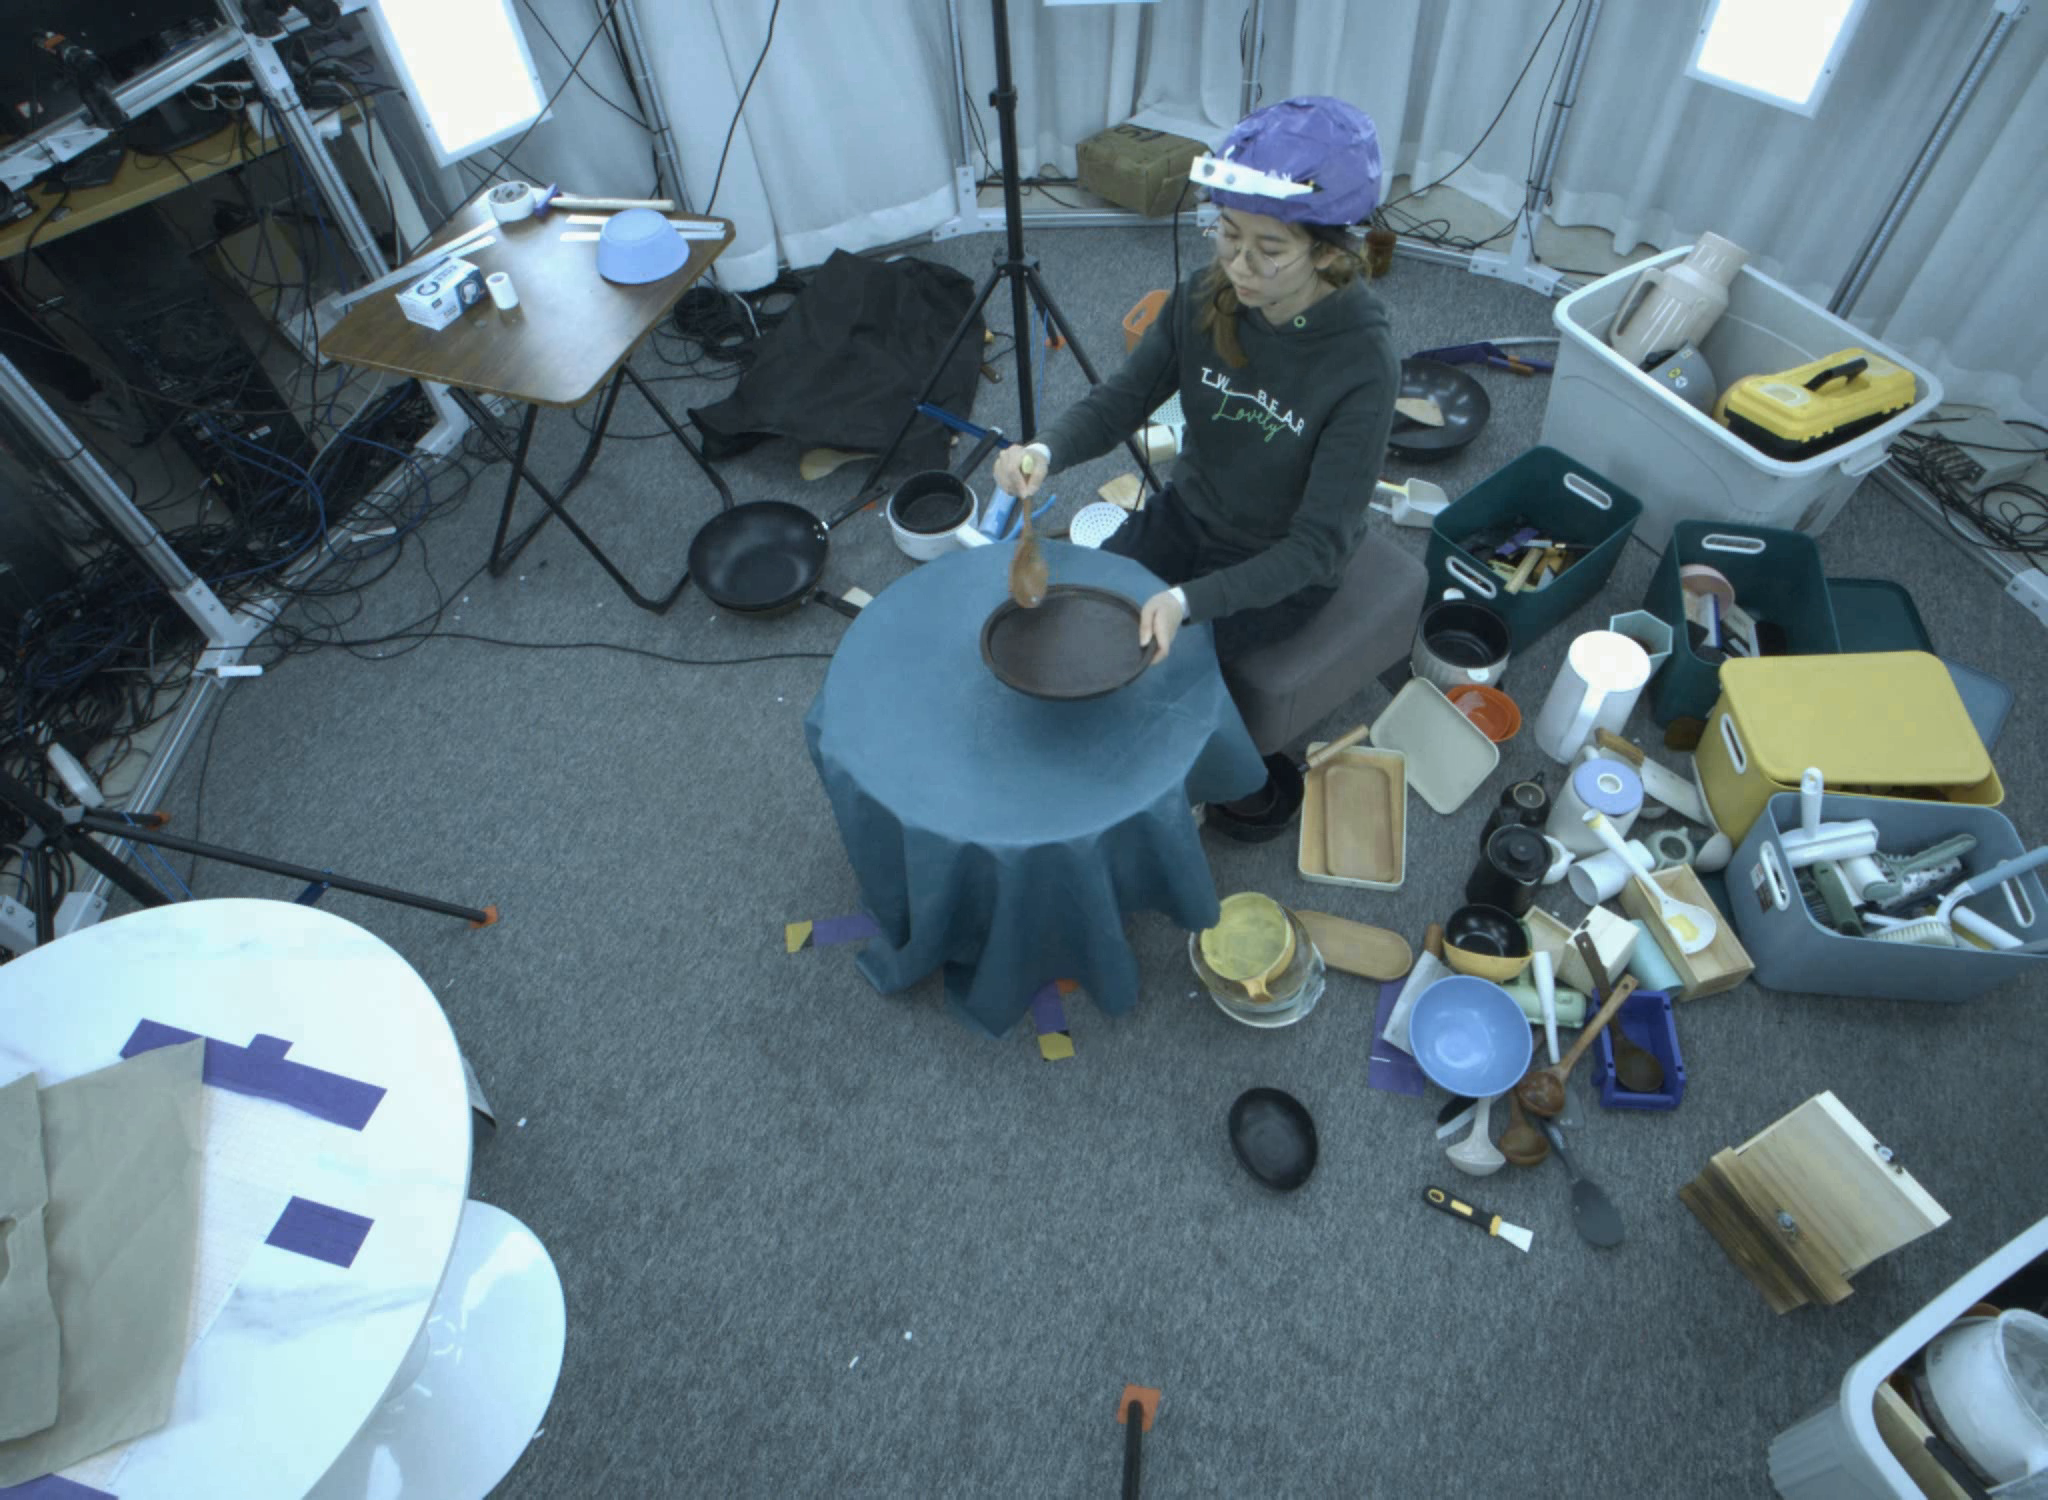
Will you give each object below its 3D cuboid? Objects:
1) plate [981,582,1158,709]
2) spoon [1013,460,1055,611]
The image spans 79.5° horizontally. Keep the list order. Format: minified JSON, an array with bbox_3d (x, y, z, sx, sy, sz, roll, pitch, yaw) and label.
[{"bbox_3d":[0.065,-0.149,1.761,0.255,0.029,0.252,0,47,1],"label":"plate"},{"bbox_3d":[0.010,-0.307,1.756,0.077,0.217,0.017,-13,18,-40],"label":"spoon"}]
